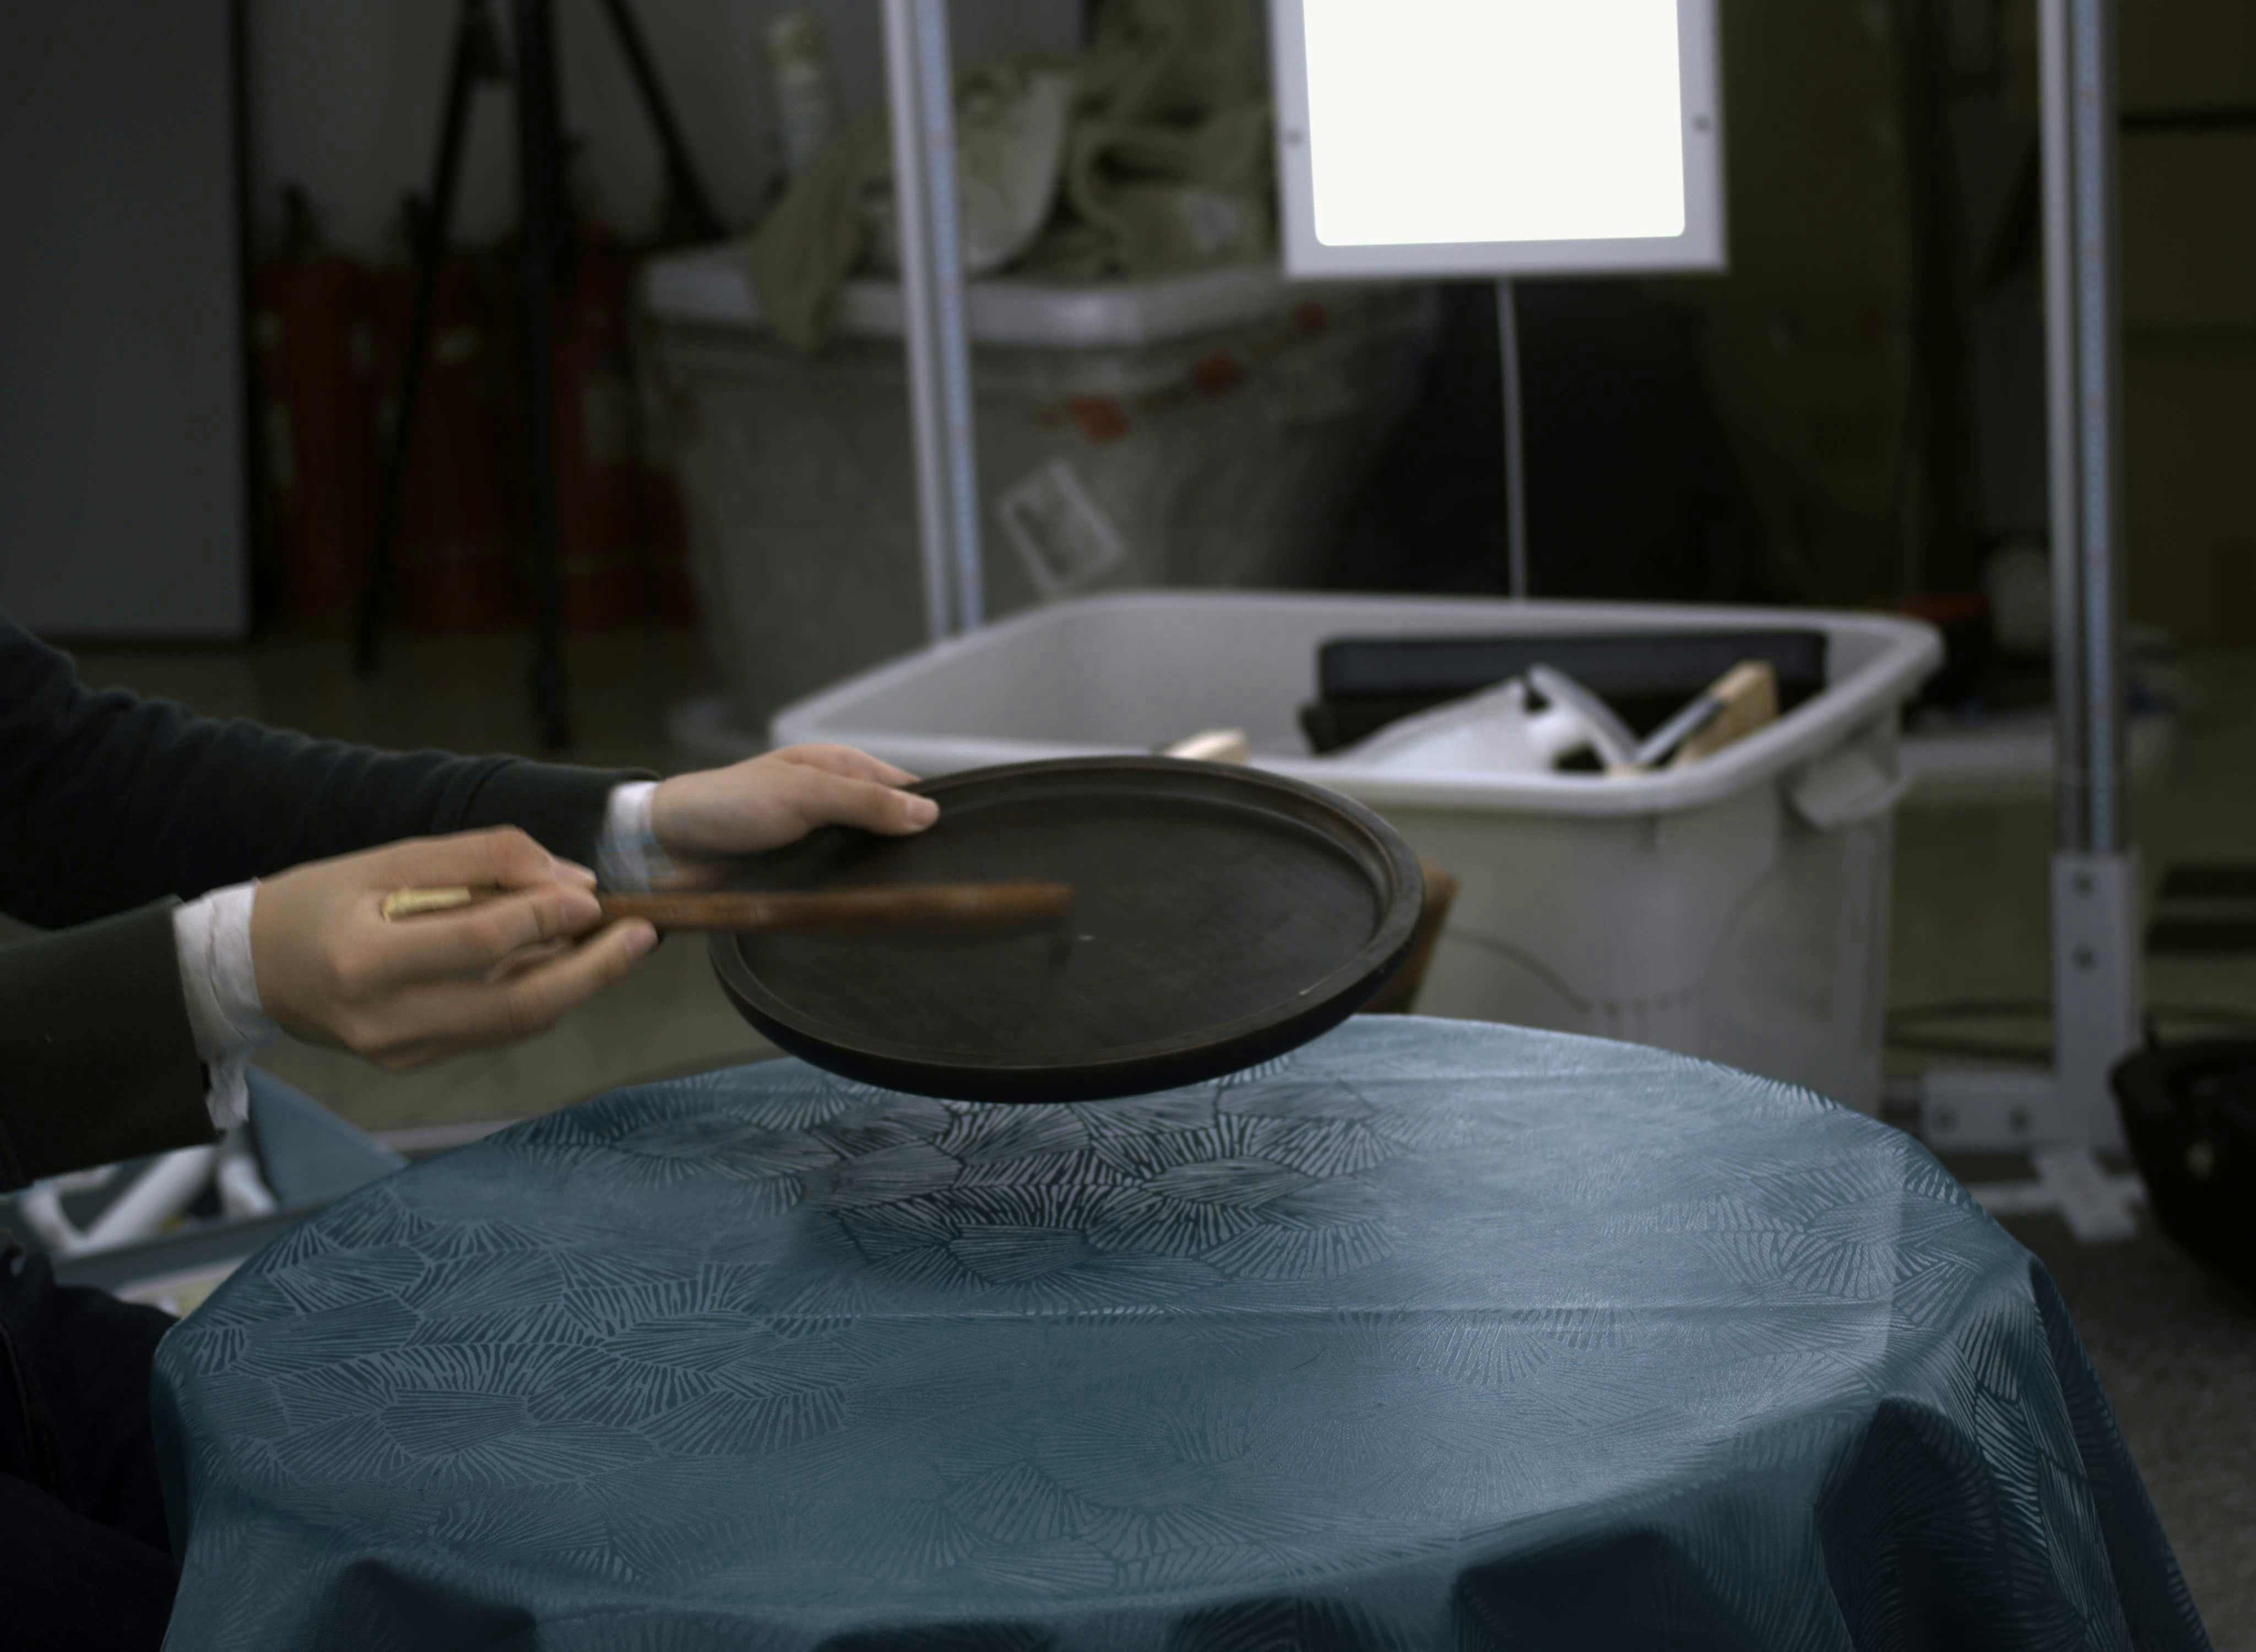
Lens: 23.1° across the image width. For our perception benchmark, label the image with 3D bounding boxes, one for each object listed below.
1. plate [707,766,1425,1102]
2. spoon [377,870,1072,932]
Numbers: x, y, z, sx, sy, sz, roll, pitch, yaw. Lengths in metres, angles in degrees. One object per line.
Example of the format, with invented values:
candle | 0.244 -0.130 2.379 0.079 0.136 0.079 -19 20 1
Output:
plate | -0.022 0.035 1.930 0.254 0.029 0.254 -4 24 0
spoon | -0.121 0.023 1.678 0.212 0.017 0.076 0 -5 -15
